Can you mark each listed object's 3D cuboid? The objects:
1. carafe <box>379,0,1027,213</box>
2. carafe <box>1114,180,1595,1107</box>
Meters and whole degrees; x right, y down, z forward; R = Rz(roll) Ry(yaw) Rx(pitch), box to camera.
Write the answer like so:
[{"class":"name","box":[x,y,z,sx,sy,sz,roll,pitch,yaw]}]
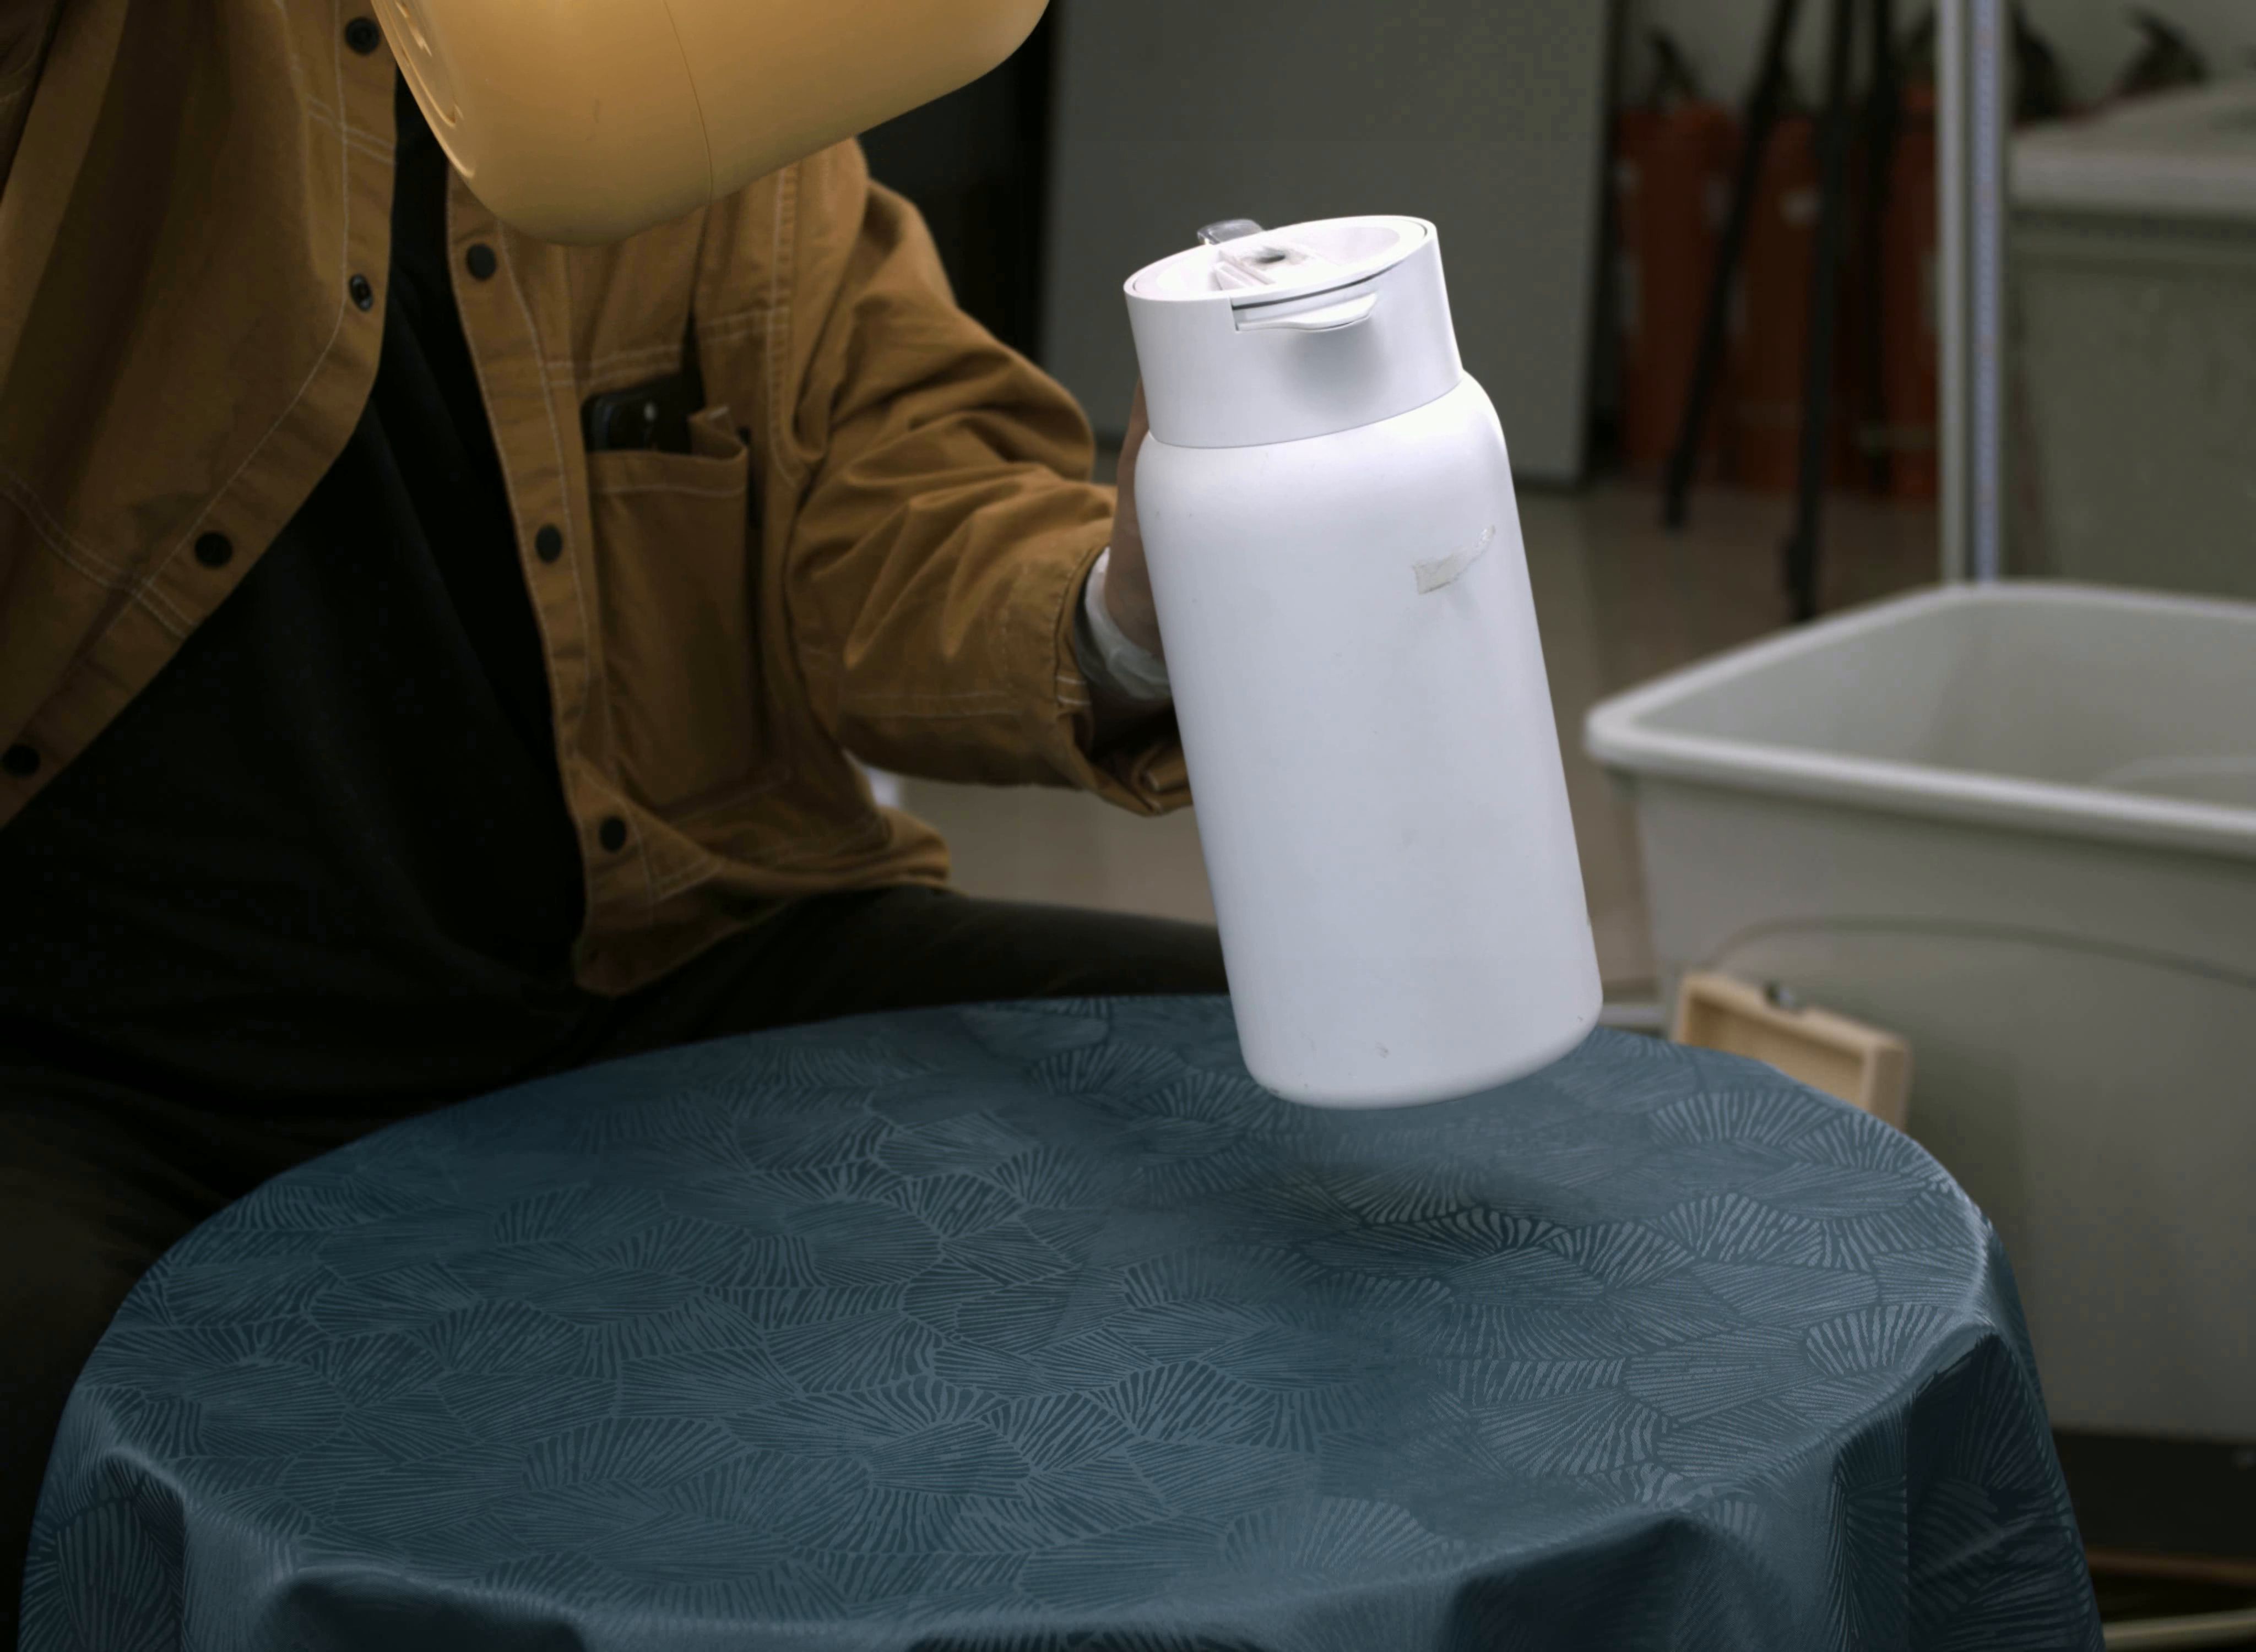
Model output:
[{"class":"carafe","box":[-0.100,-0.310,1.566,0.256,0.203,0.165,-25,20,-14]},{"class":"carafe","box":[0.063,-0.059,1.696,0.122,0.271,0.174,-16,16,-9]}]
